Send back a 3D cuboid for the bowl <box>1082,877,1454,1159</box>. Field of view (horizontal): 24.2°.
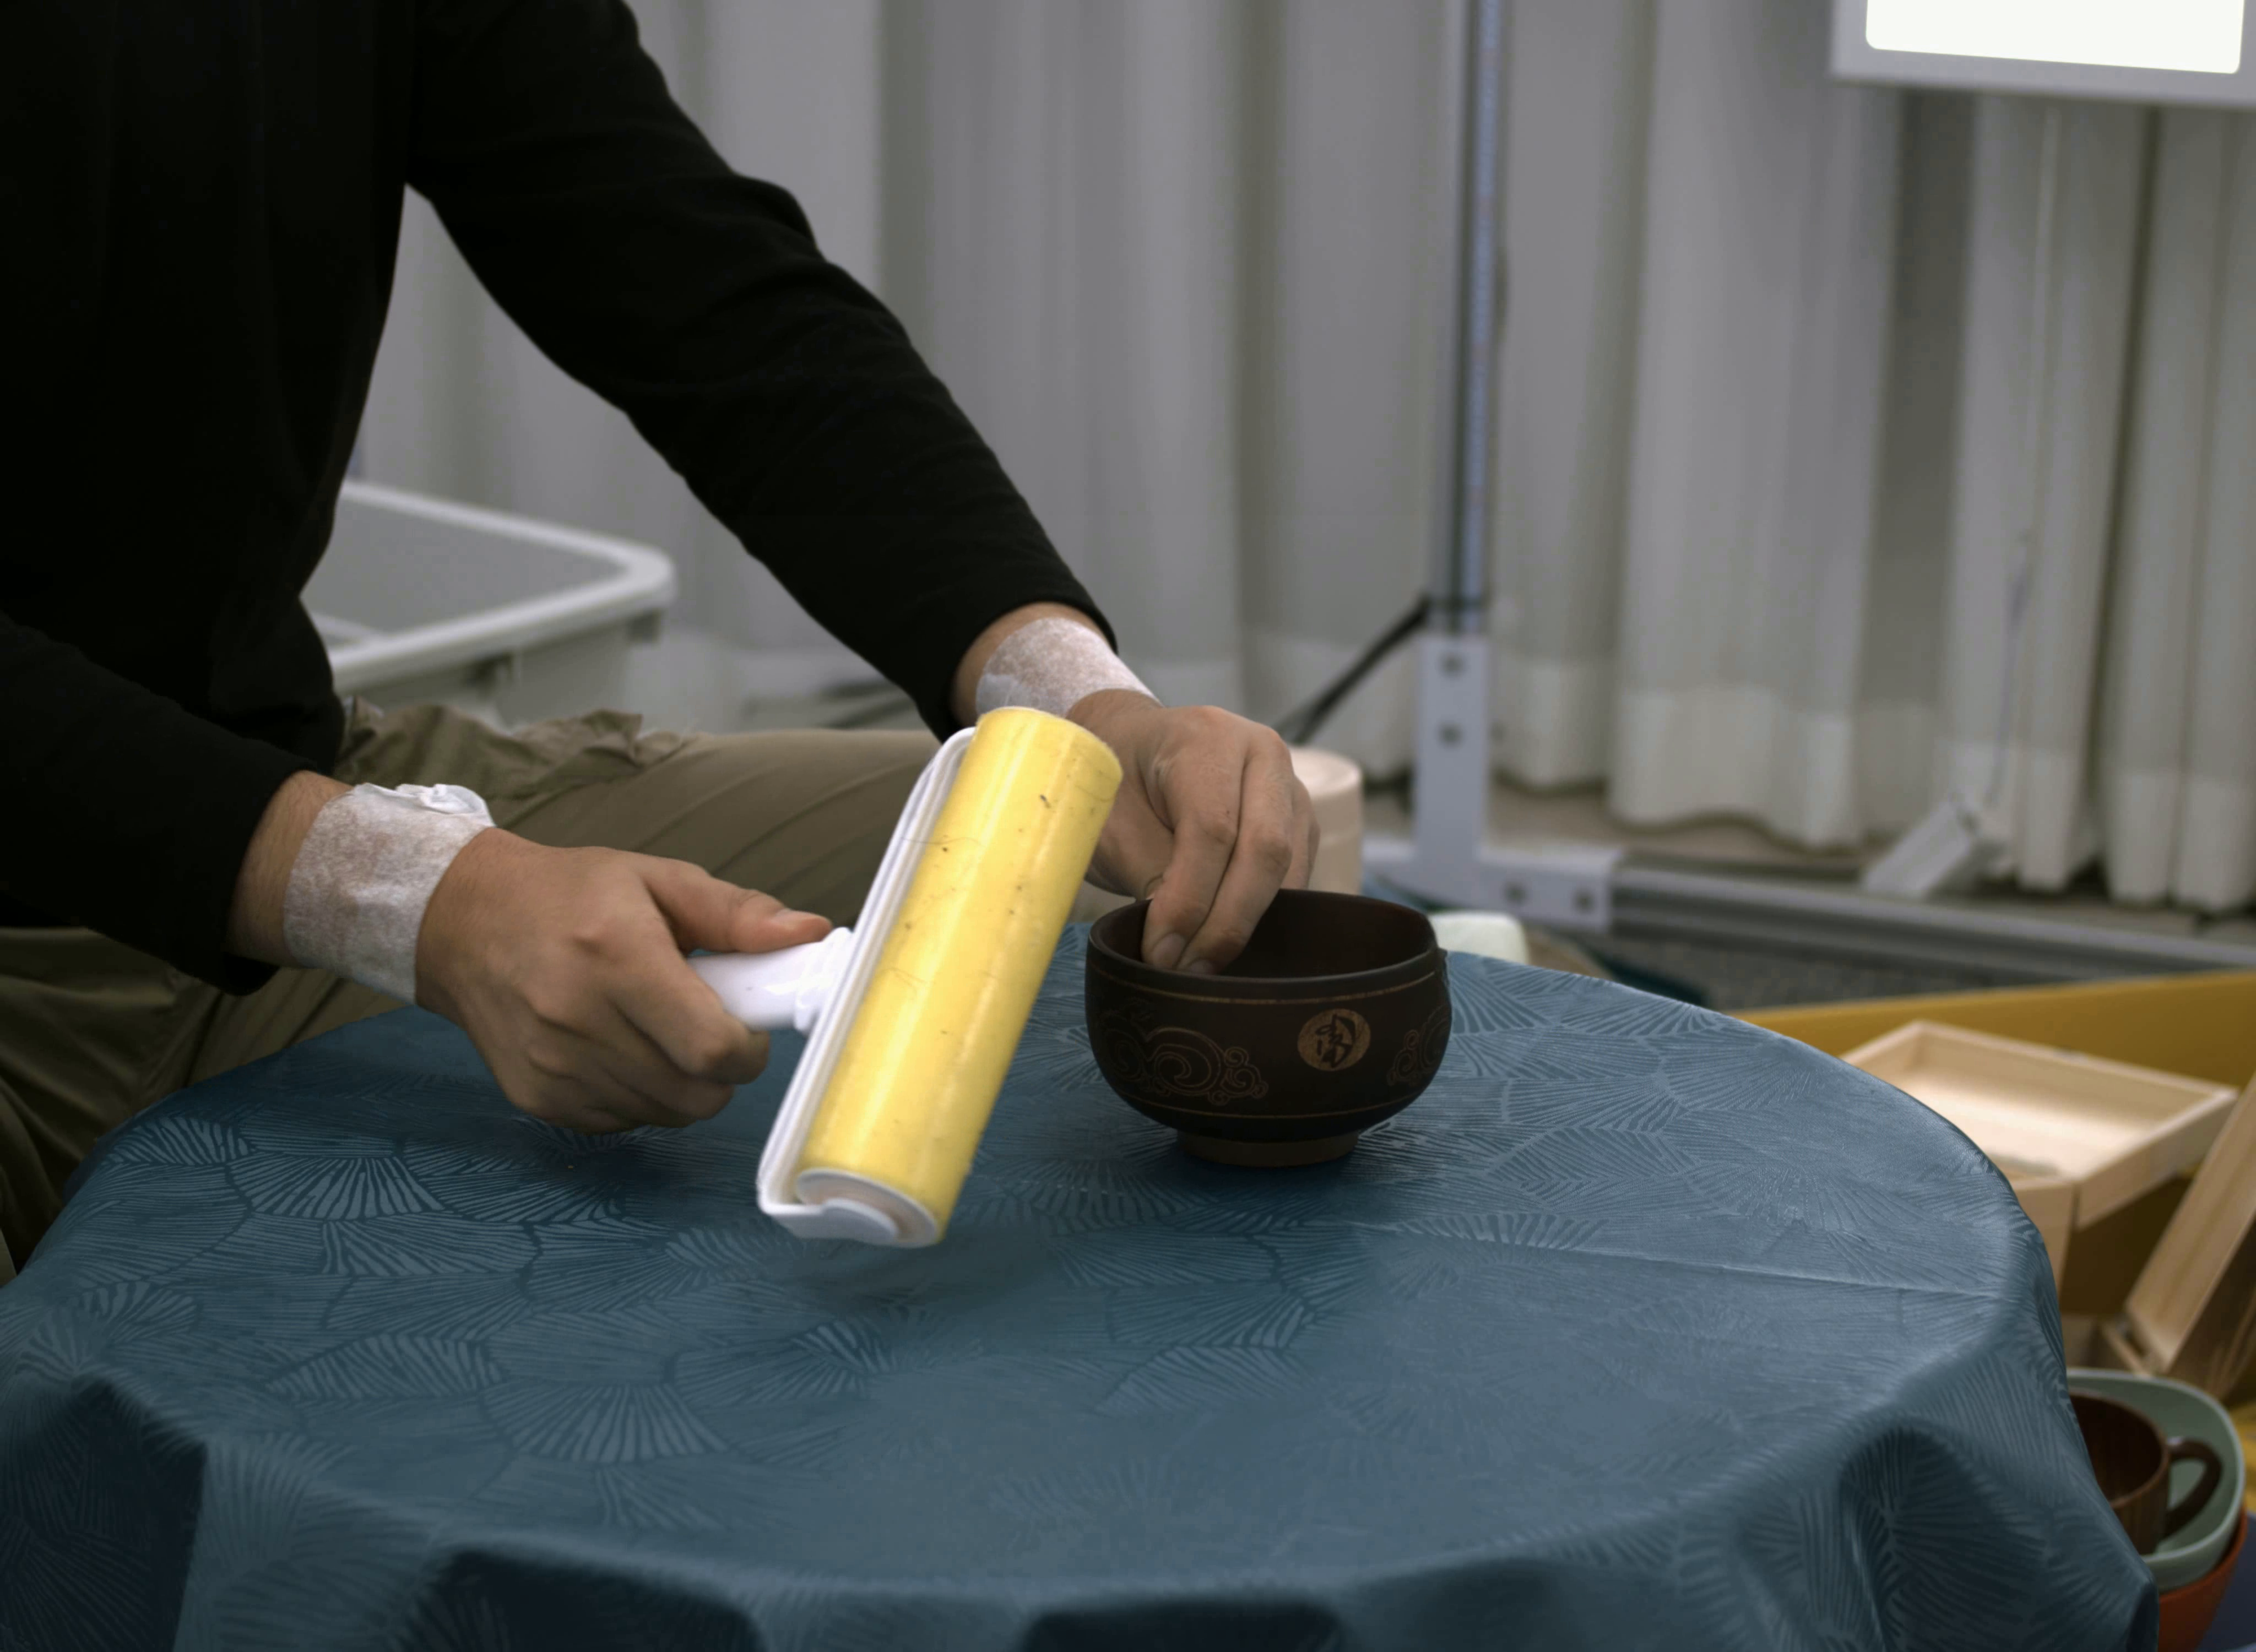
[{"bbox_3d":[0.043,0.063,1.655,0.117,0.070,0.117,2,14,0],"label":"bowl"}]

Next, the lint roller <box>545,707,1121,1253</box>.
[{"bbox_3d":[-0.108,0.045,1.587,0.190,0.052,0.173,1,58,31],"label":"lint roller"}]
